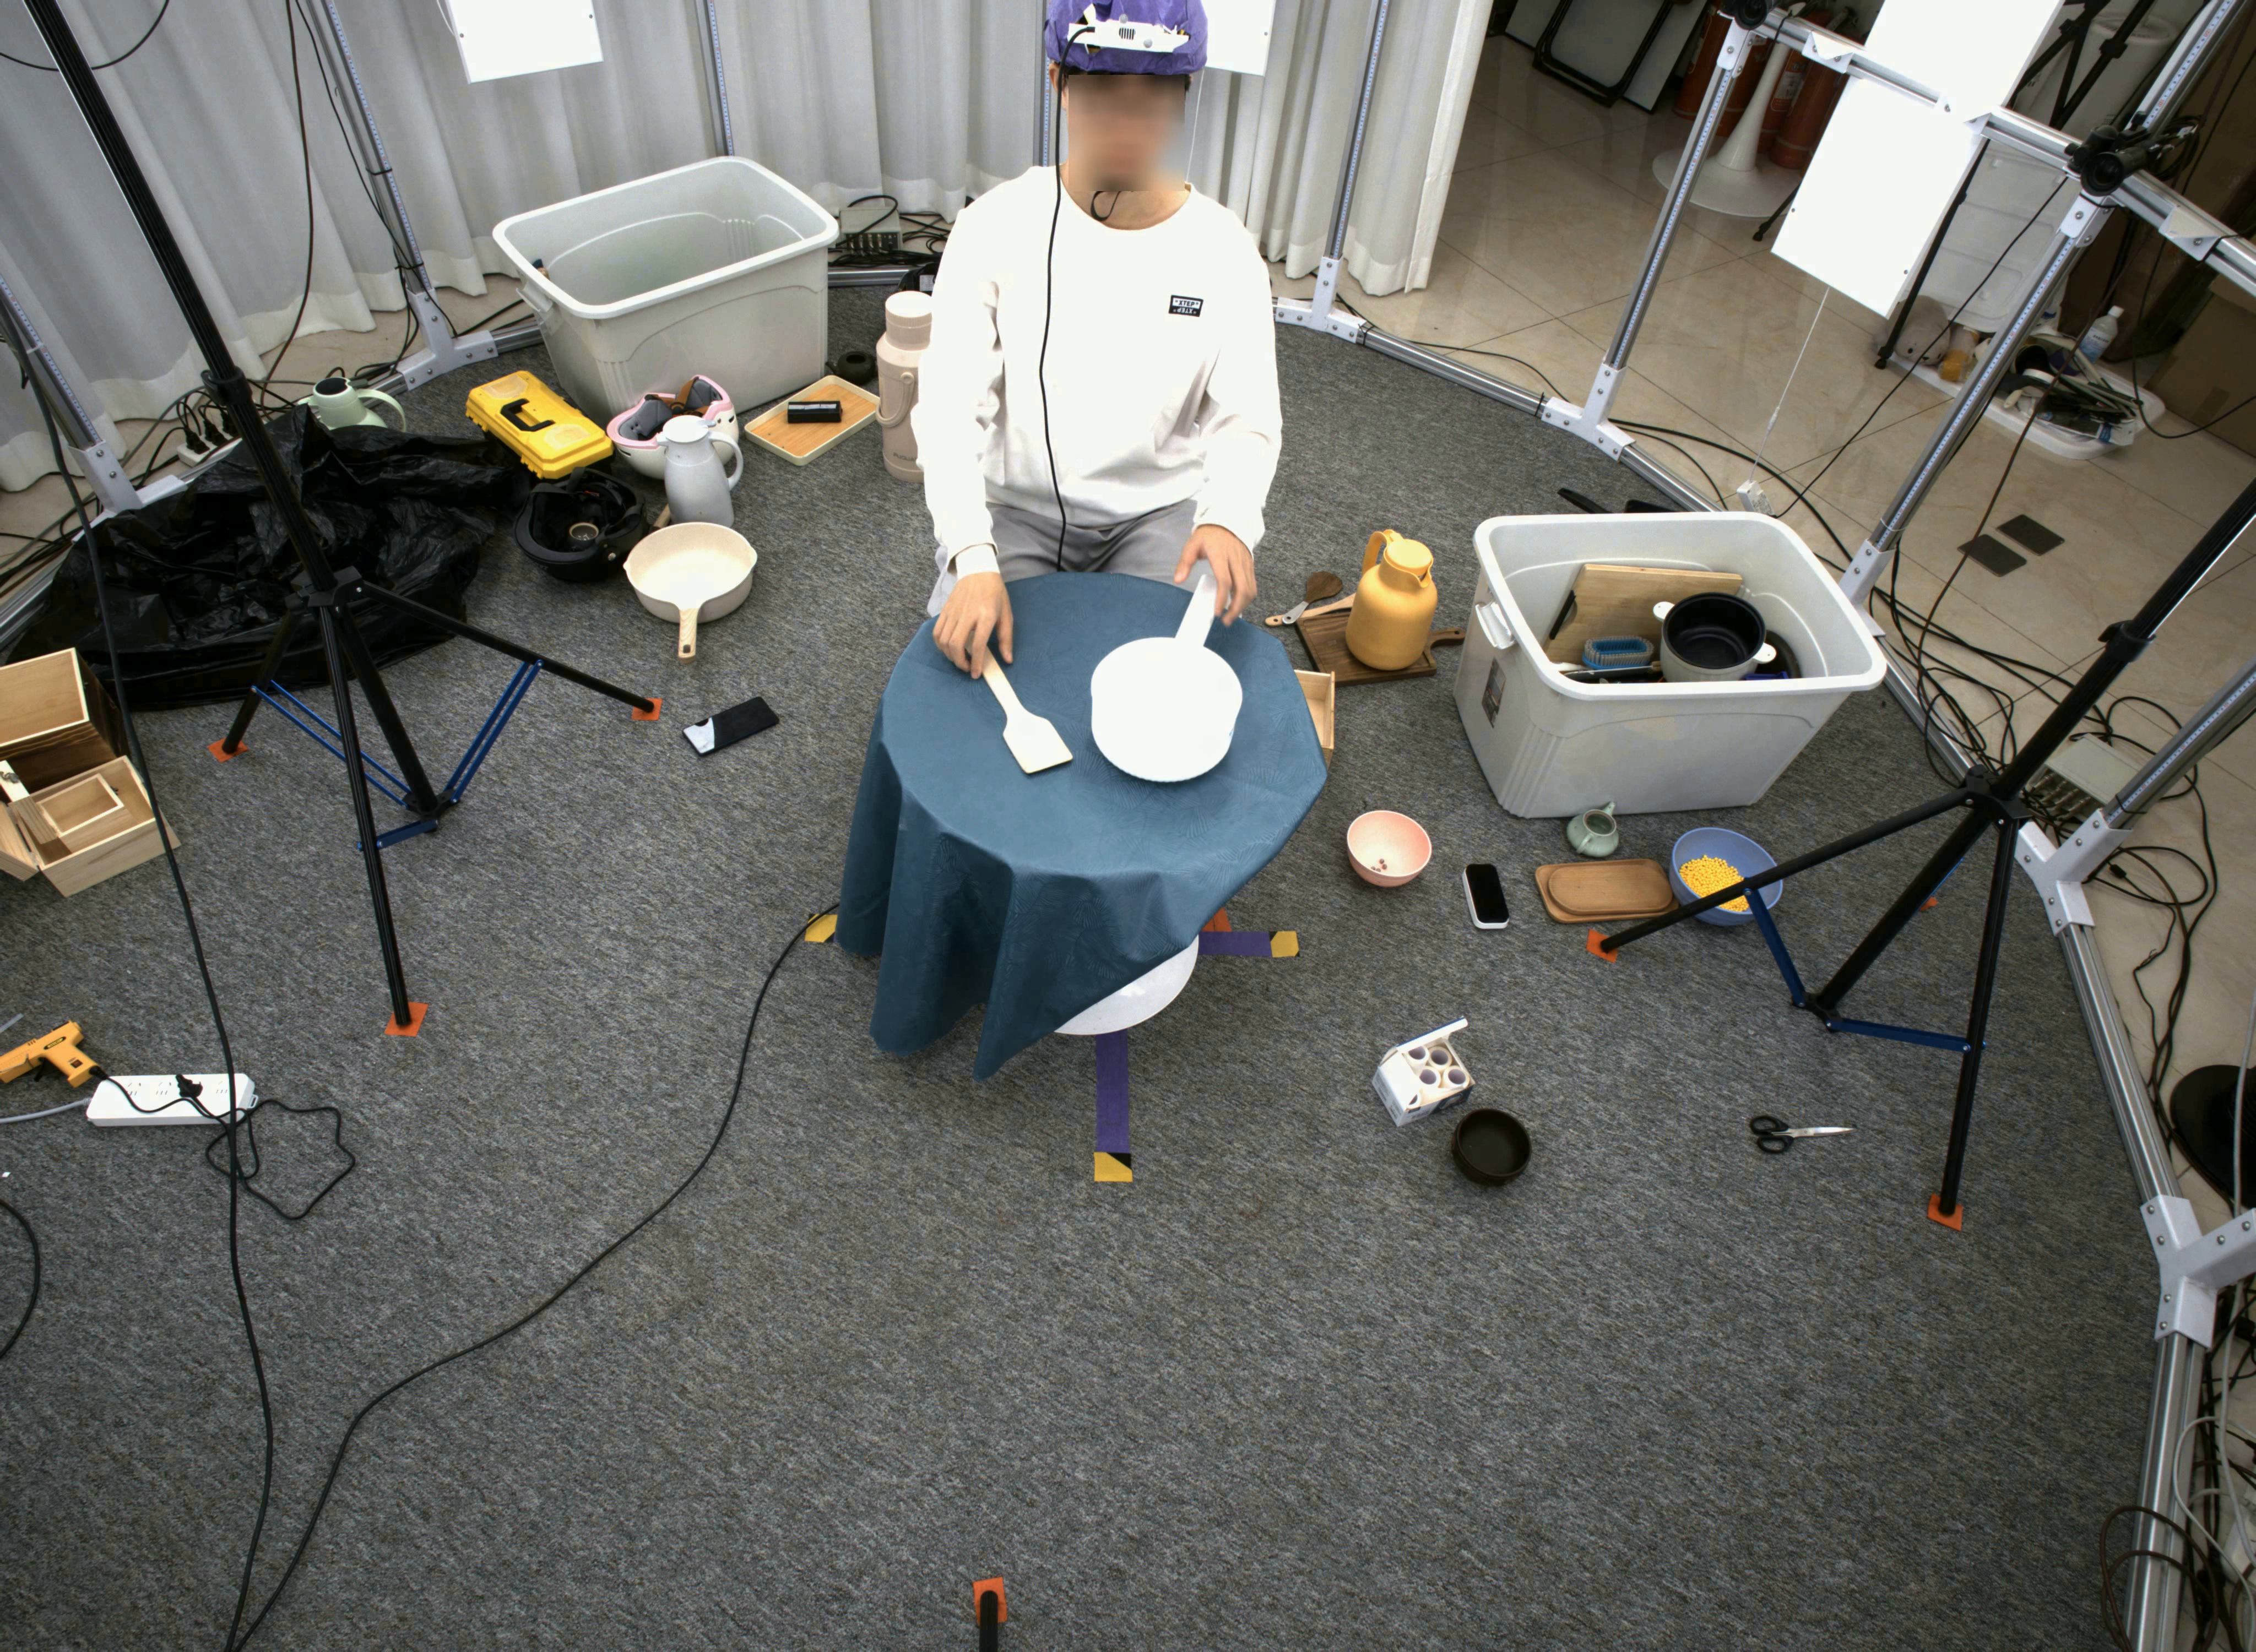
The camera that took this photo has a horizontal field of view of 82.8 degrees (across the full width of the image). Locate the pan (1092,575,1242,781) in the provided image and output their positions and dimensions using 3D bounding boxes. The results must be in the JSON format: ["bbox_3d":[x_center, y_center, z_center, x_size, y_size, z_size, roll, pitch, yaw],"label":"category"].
[{"bbox_3d":[0.073,-0.208,1.787,0.202,0.099,0.362,15,48,9],"label":"pan"}]

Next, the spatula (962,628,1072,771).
[{"bbox_3d":[-0.170,-0.184,1.806,0.072,0.010,0.299,-19,53,-18],"label":"spatula"}]
